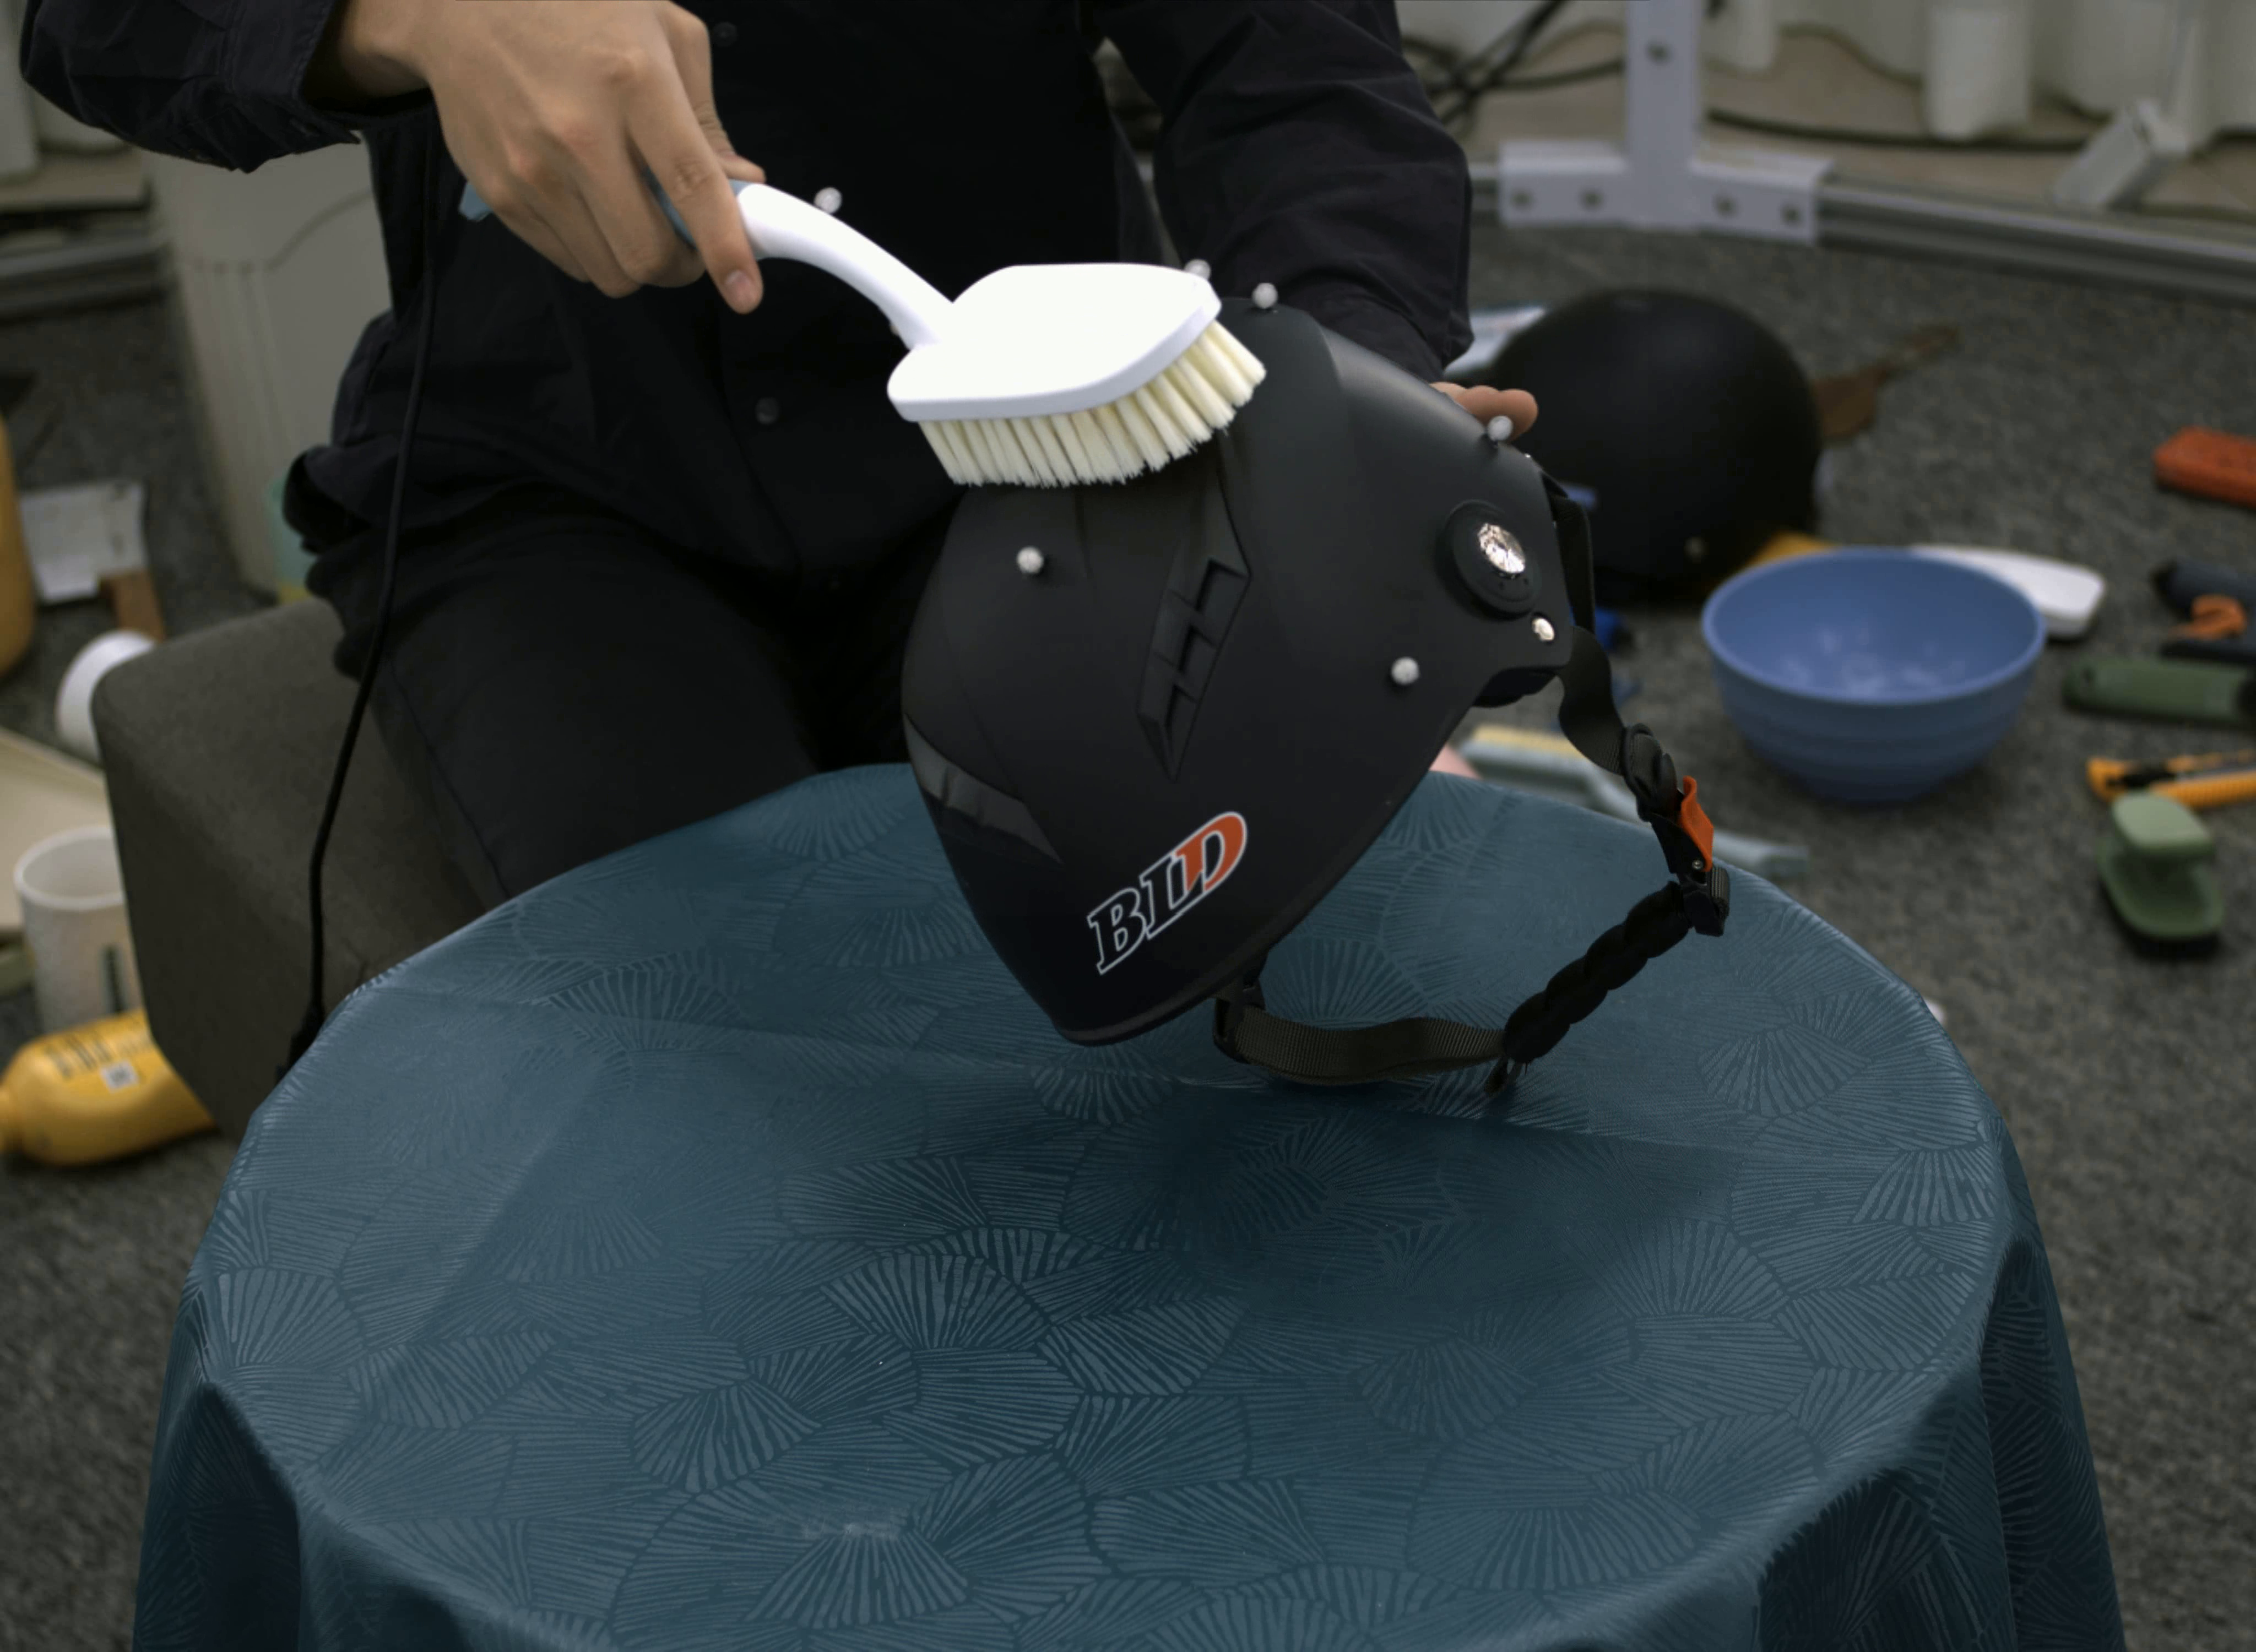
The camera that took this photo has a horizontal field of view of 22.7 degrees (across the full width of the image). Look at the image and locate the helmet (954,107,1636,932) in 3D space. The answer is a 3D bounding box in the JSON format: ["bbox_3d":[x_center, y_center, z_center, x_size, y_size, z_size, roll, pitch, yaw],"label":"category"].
[{"bbox_3d":[0.039,-0.108,1.835,0.243,0.172,0.282,-39,17,30],"label":"helmet"}]

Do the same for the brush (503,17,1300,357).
[{"bbox_3d":[-0.073,-0.205,1.842,0.324,0.084,0.084,15,15,37],"label":"brush"}]
